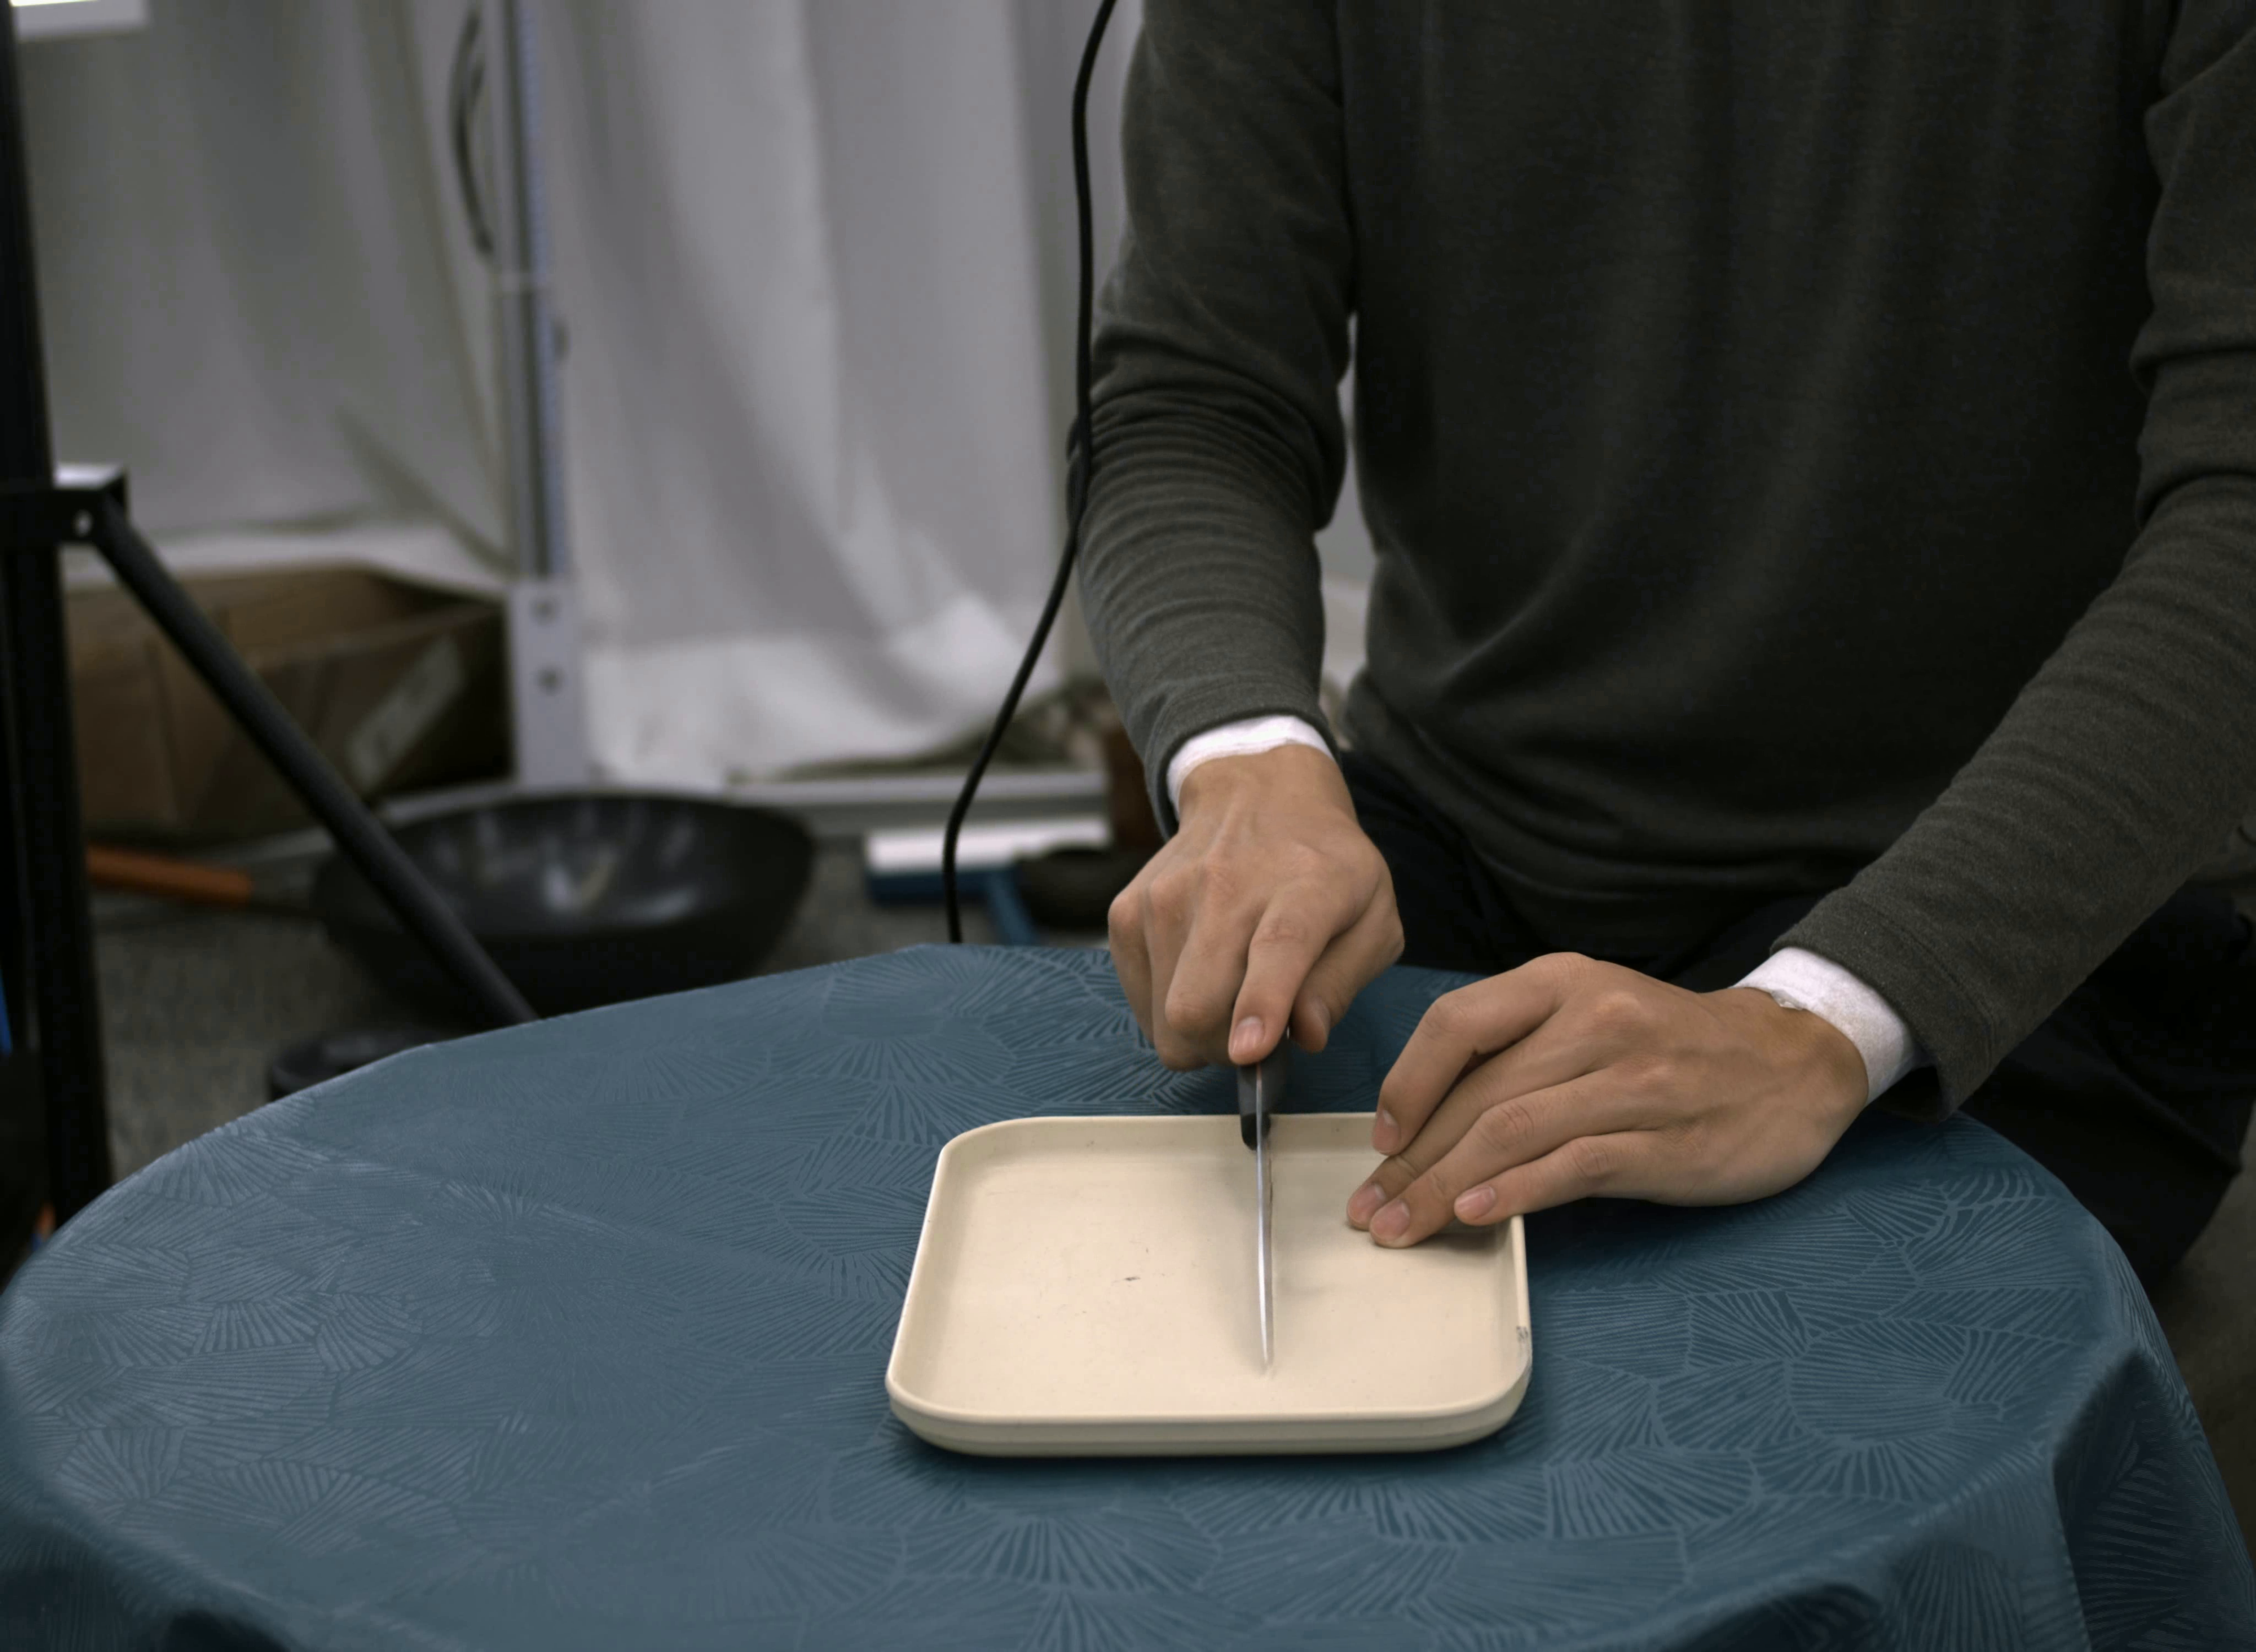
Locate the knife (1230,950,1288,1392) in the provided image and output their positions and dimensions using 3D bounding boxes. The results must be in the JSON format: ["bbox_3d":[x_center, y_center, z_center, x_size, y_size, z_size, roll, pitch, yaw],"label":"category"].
[{"bbox_3d":[0.038,0.094,1.510,0.016,0.024,0.239,-9,26,5],"label":"knife"}]

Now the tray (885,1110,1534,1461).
[{"bbox_3d":[0.025,0.126,1.464,0.171,0.017,0.240,-2,16,4],"label":"tray"}]
